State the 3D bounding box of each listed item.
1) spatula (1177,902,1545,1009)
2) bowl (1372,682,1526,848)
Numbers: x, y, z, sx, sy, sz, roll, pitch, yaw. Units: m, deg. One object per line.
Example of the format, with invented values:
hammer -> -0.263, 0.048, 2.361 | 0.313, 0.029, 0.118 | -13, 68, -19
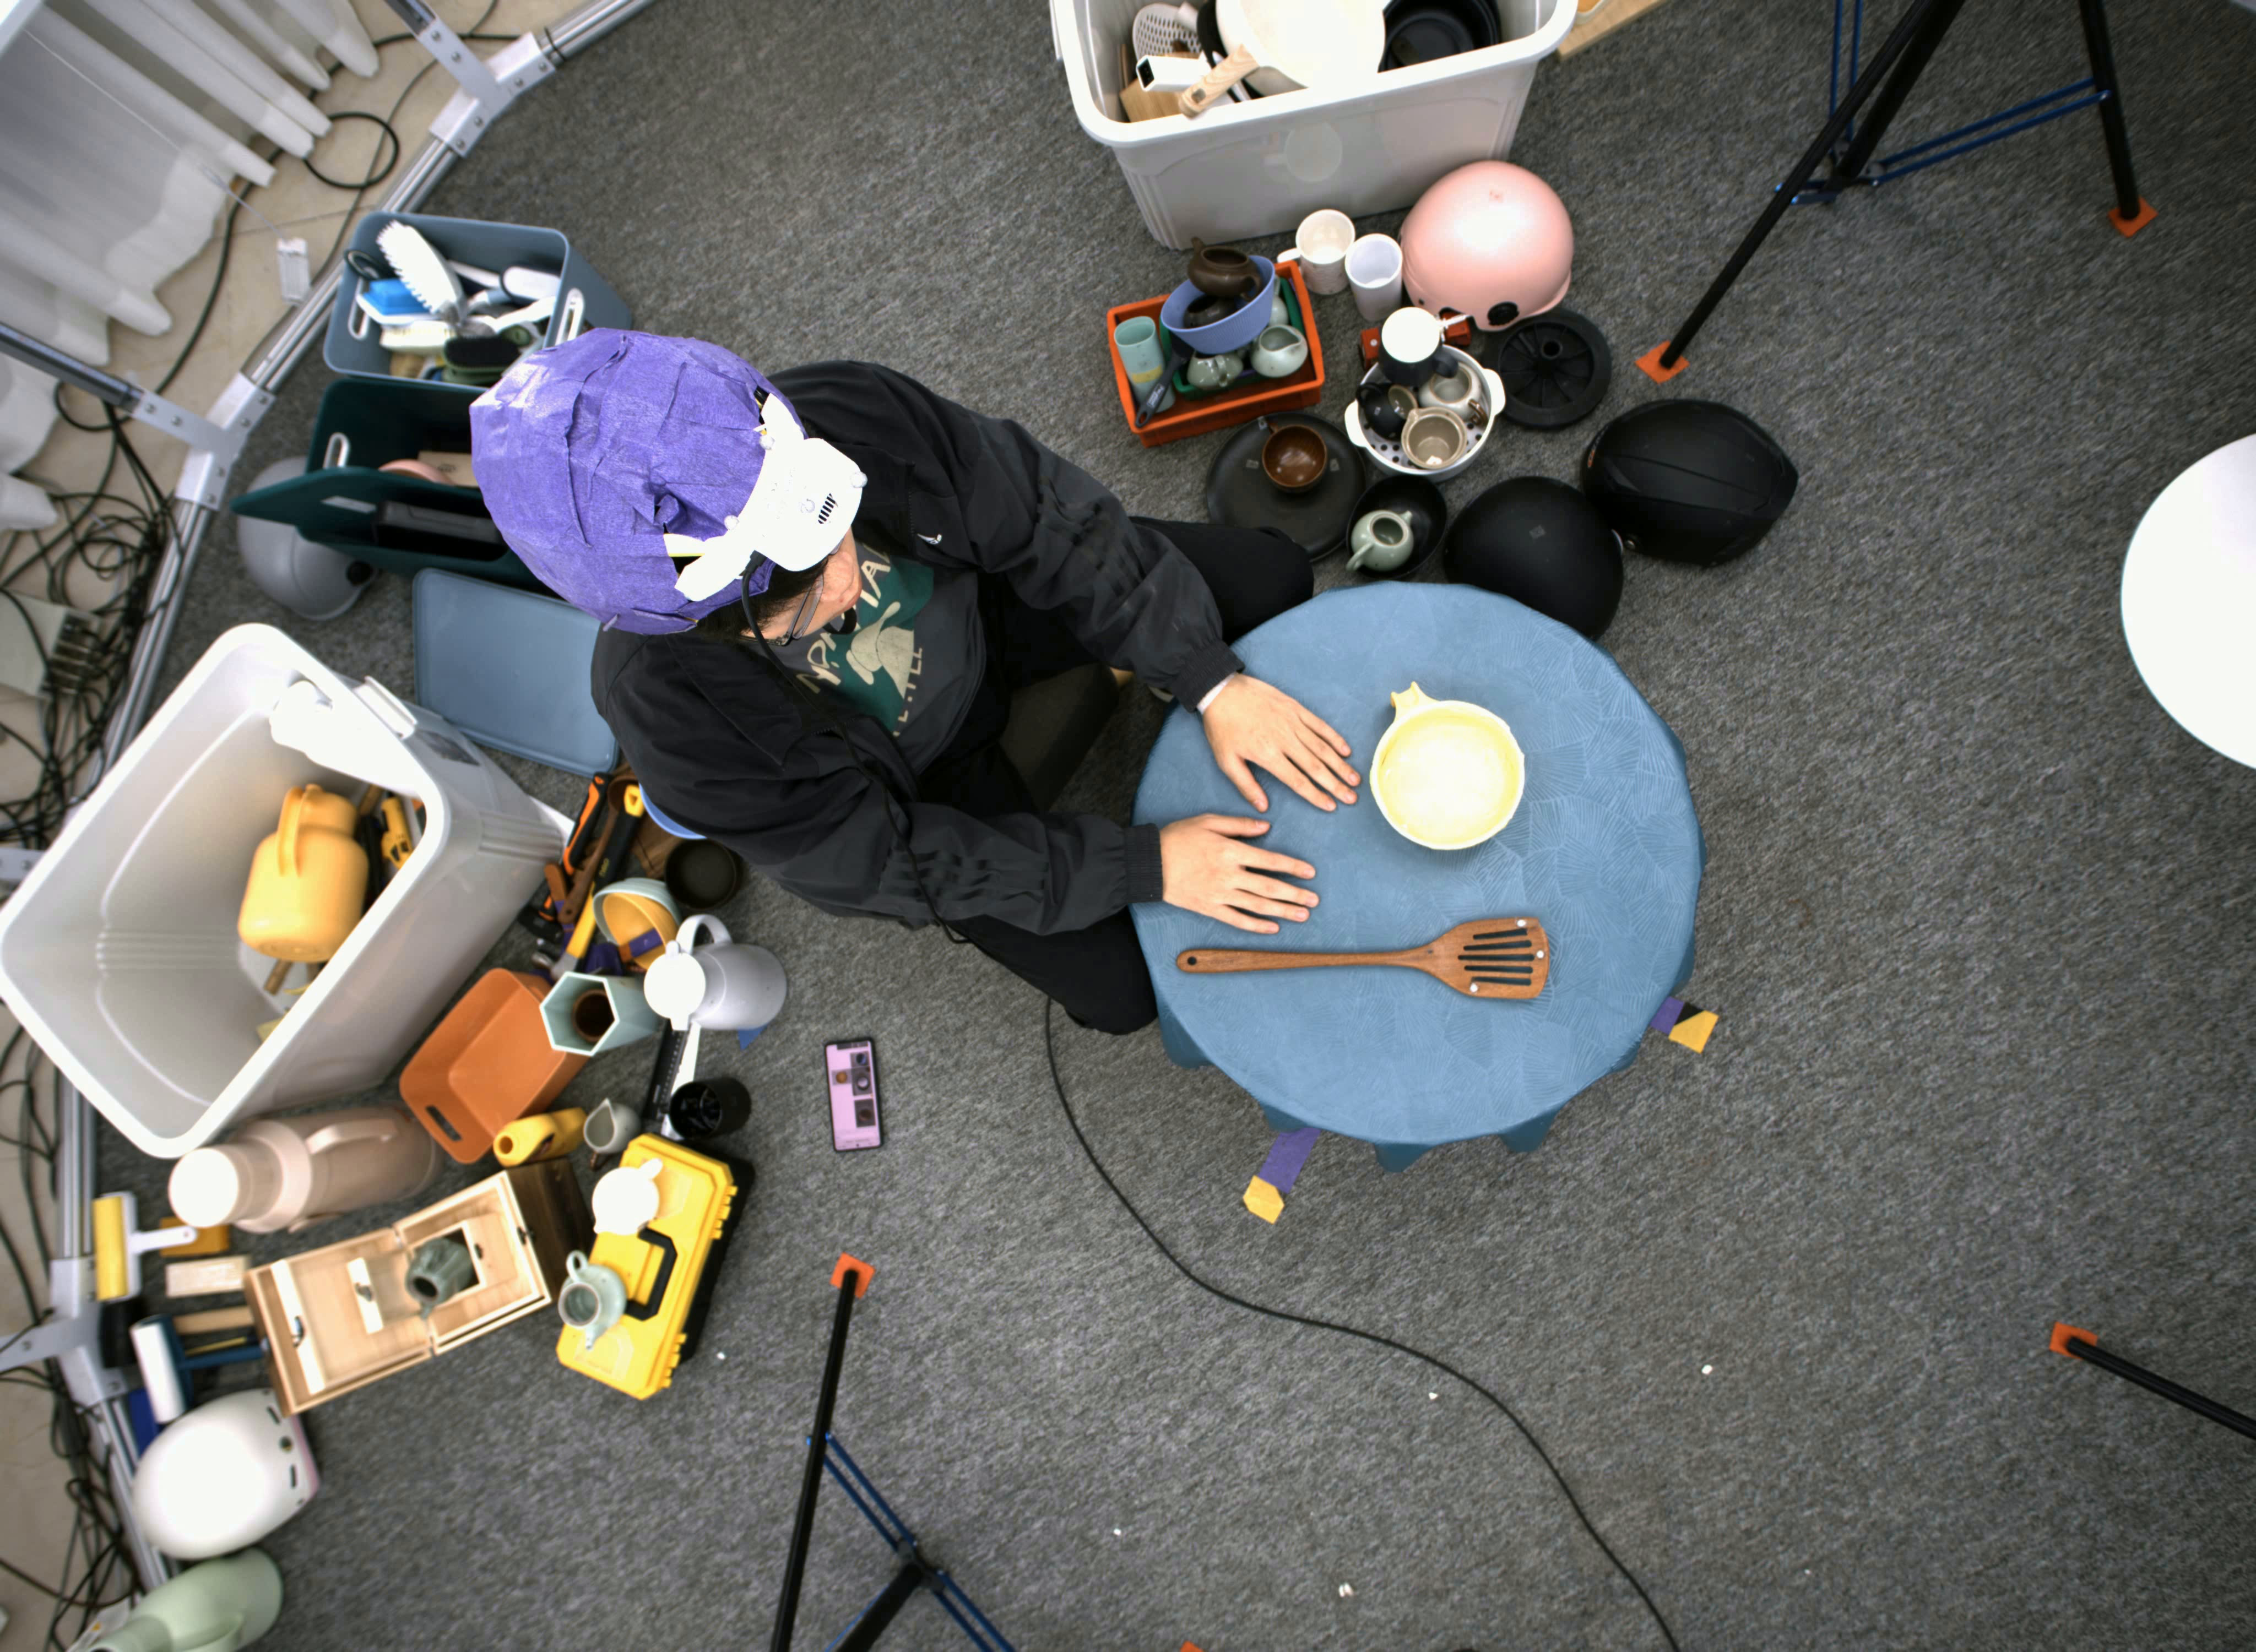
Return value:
spatula -> 0.242, 0.151, 1.456 | 0.388, 0.024, 0.084 | -10, 76, 8
bowl -> 0.324, -0.065, 1.423 | 0.154, 0.074, 0.178 | -31, 82, 6
